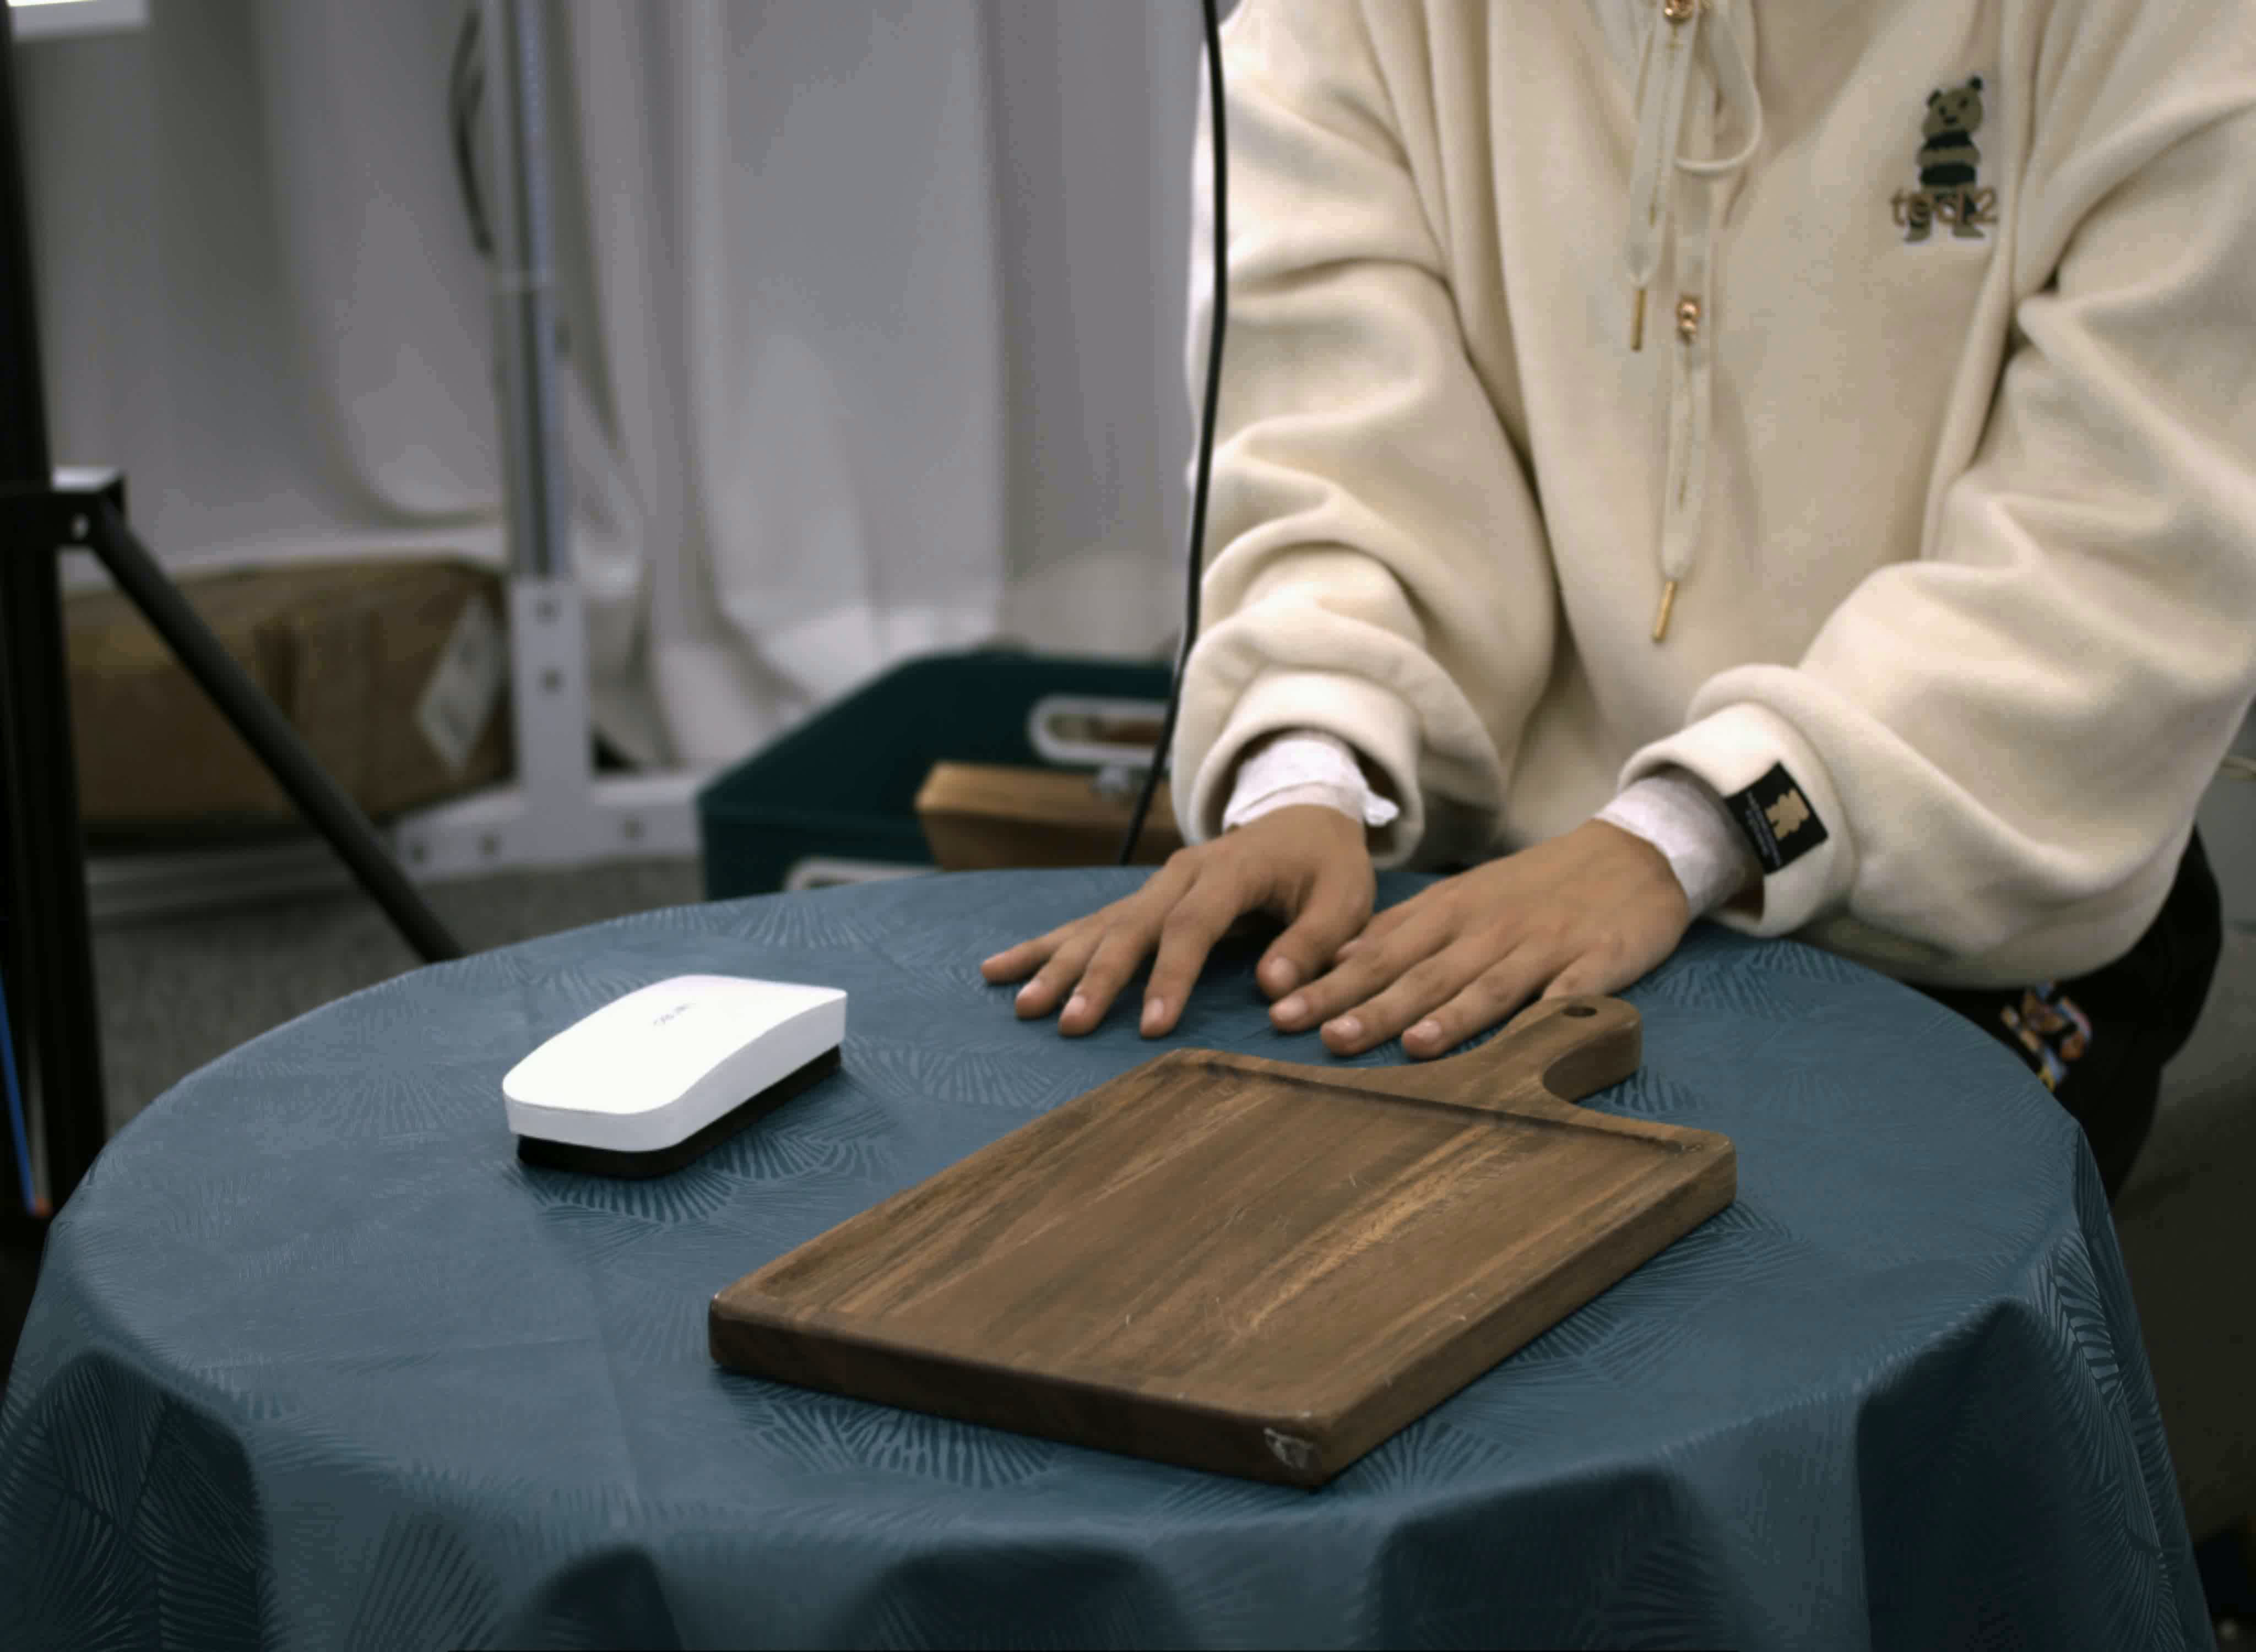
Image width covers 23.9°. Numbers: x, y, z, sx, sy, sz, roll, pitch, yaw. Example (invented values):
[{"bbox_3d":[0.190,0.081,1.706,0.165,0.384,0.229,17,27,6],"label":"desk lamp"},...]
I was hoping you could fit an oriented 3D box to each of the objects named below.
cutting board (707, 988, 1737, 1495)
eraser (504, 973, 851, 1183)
[{"bbox_3d":[0.057,0.105,1.518,0.205,0.023,0.345,8,19,32],"label":"cutting board"},{"bbox_3d":[-0.136,0.074,1.646,0.064,0.034,0.129,5,18,27],"label":"eraser"}]
